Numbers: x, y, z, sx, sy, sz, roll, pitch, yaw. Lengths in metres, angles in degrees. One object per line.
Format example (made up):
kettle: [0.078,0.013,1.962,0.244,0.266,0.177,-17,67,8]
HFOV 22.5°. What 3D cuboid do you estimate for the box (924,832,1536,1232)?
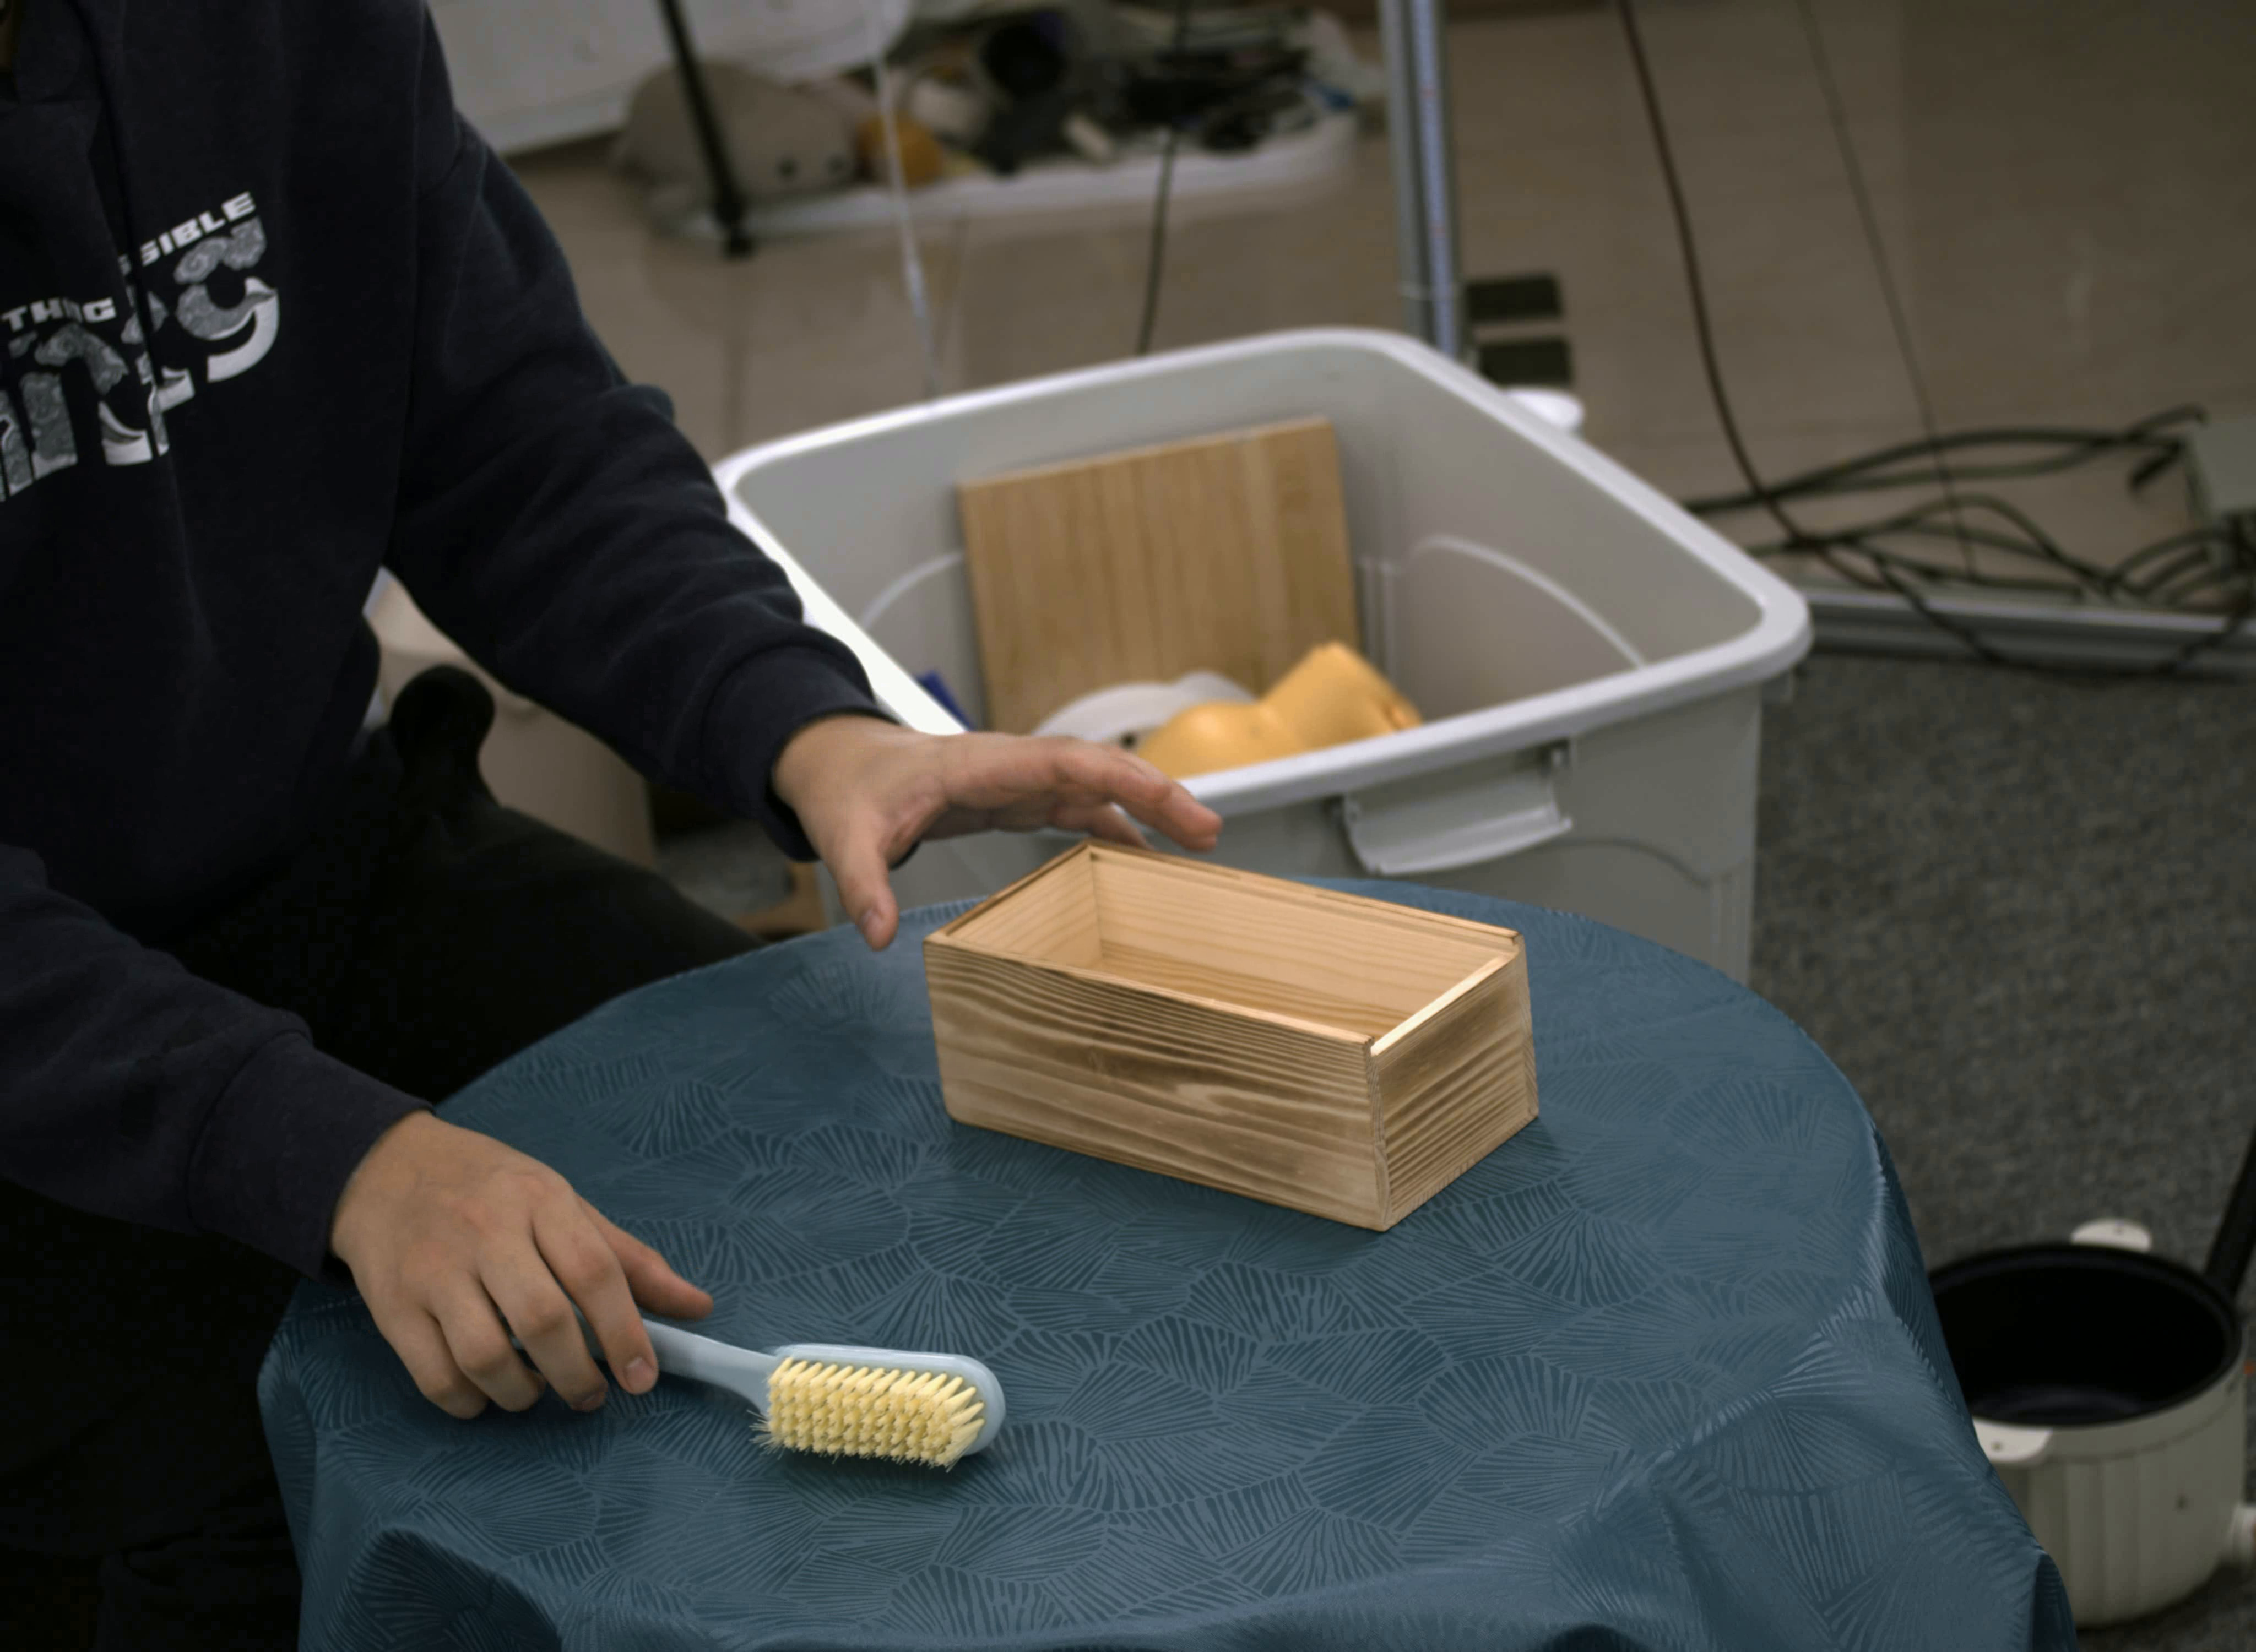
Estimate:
box: [0.038,0.076,2.178,0.210,0.081,0.106,13,31,35]

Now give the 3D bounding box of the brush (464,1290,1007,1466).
brush: [-0.149,0.193,2.021,0.227,0.038,0.049,10,21,31]
